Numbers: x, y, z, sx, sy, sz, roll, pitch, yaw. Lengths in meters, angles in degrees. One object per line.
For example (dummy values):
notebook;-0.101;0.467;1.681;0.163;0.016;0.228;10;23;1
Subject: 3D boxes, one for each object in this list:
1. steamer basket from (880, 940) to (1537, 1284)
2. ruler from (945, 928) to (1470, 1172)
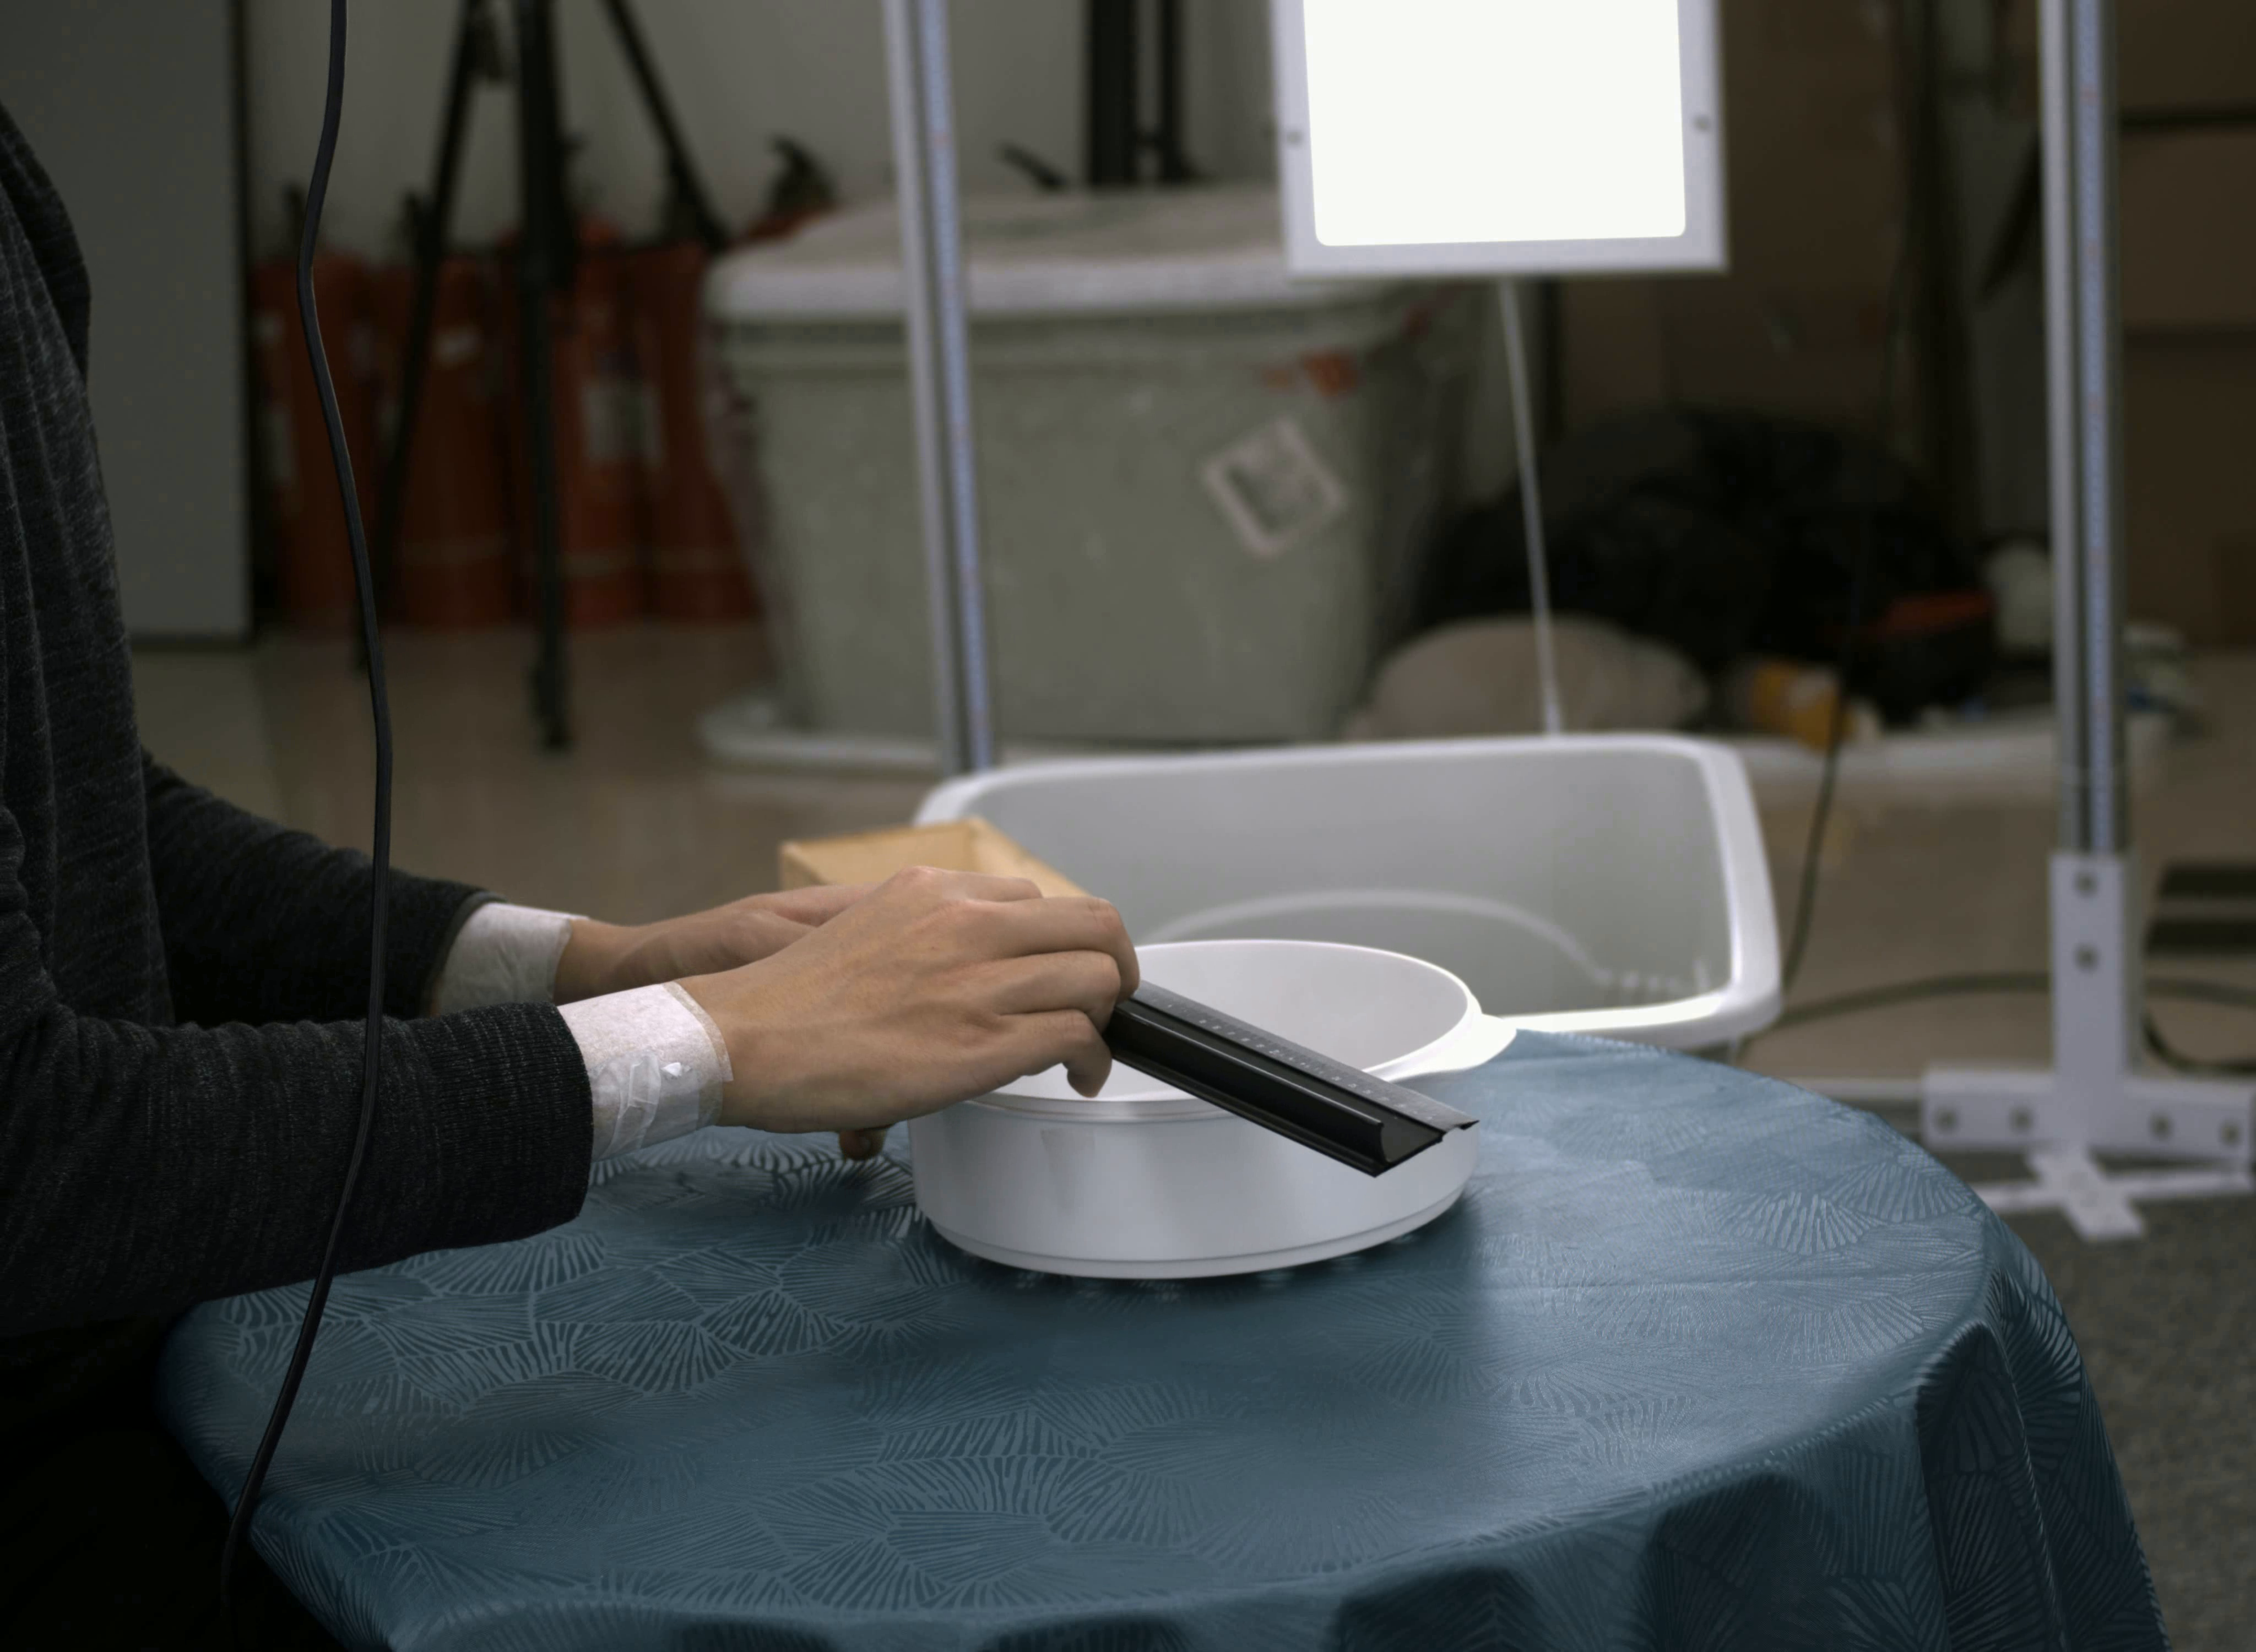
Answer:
steamer basket;0.027;0.097;1.867;0.234;0.069;0.197;4;16;26
ruler;0.019;0.062;1.754;0.038;0.017;0.317;-24;19;-20
